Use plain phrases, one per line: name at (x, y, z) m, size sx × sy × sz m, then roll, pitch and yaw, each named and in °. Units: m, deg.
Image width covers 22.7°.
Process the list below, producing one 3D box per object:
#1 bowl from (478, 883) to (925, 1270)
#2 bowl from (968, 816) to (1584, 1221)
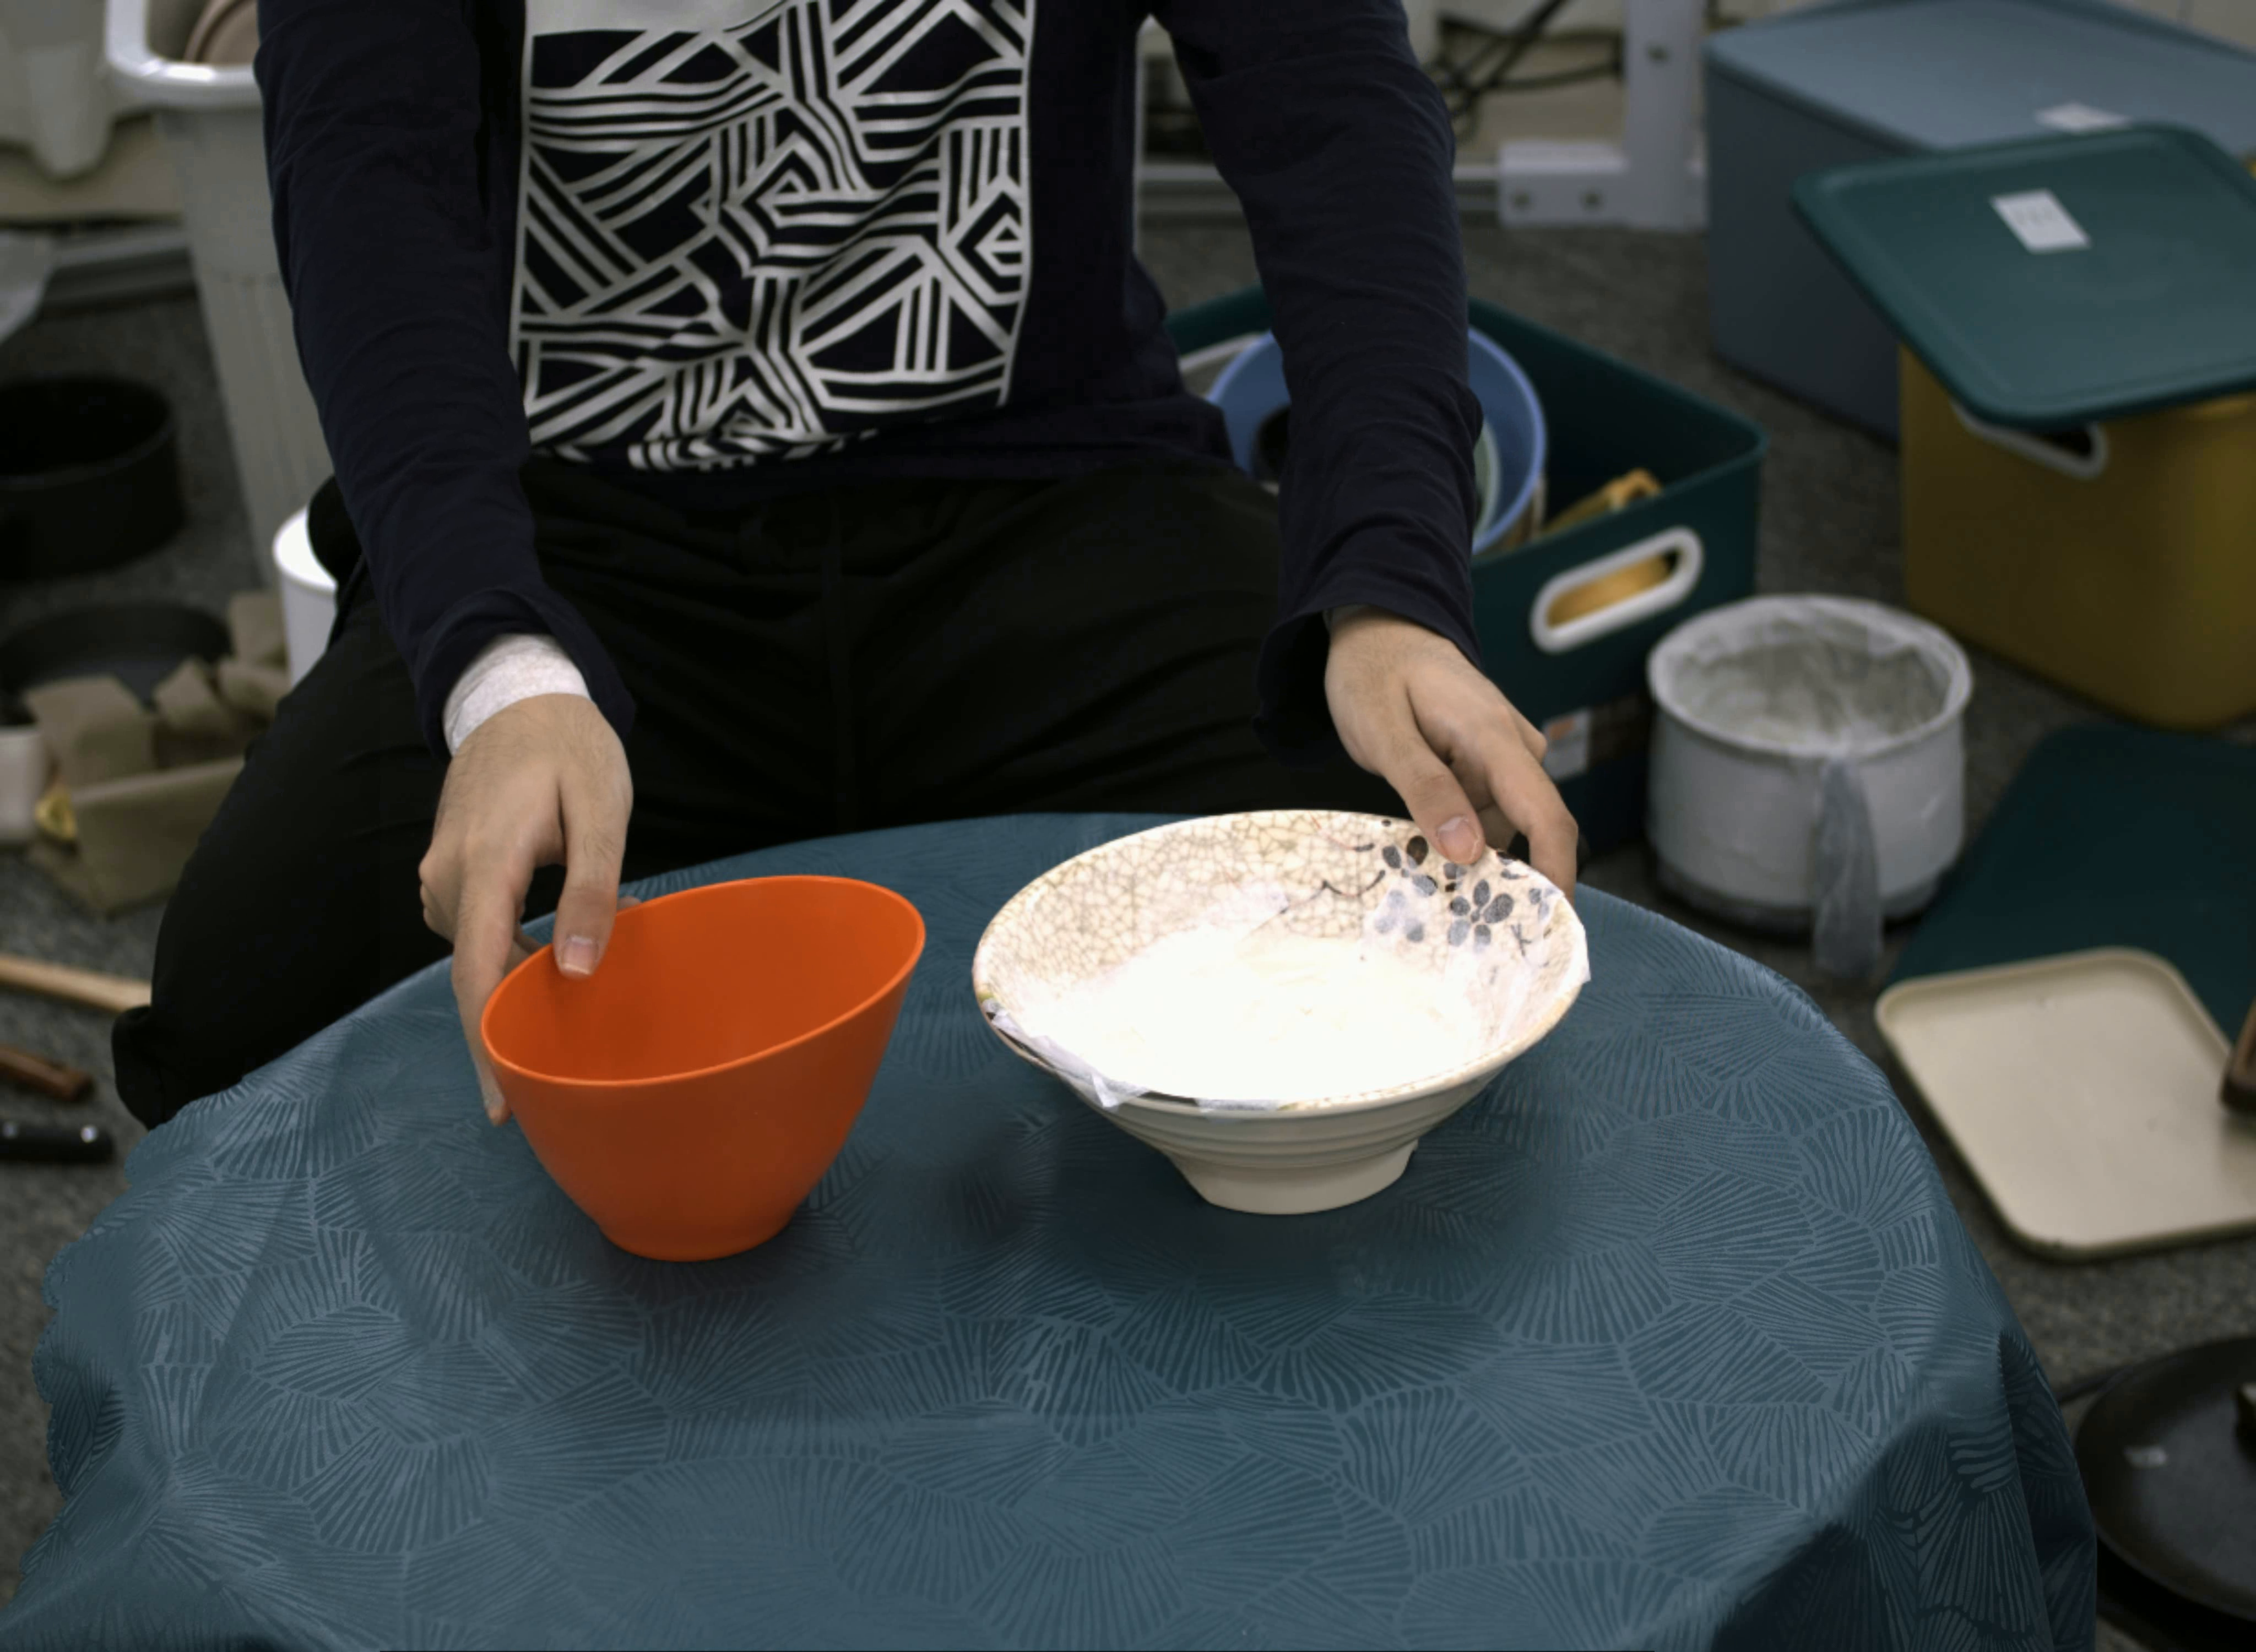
bowl at (-0.136, 0.087, 1.836) m, size 0.147 × 0.103 × 0.150 m, roll -3°, pitch 25°, yaw 2°
bowl at (0.049, 0.076, 1.863) m, size 0.203 × 0.077 × 0.207 m, roll -1°, pitch 26°, yaw 1°
